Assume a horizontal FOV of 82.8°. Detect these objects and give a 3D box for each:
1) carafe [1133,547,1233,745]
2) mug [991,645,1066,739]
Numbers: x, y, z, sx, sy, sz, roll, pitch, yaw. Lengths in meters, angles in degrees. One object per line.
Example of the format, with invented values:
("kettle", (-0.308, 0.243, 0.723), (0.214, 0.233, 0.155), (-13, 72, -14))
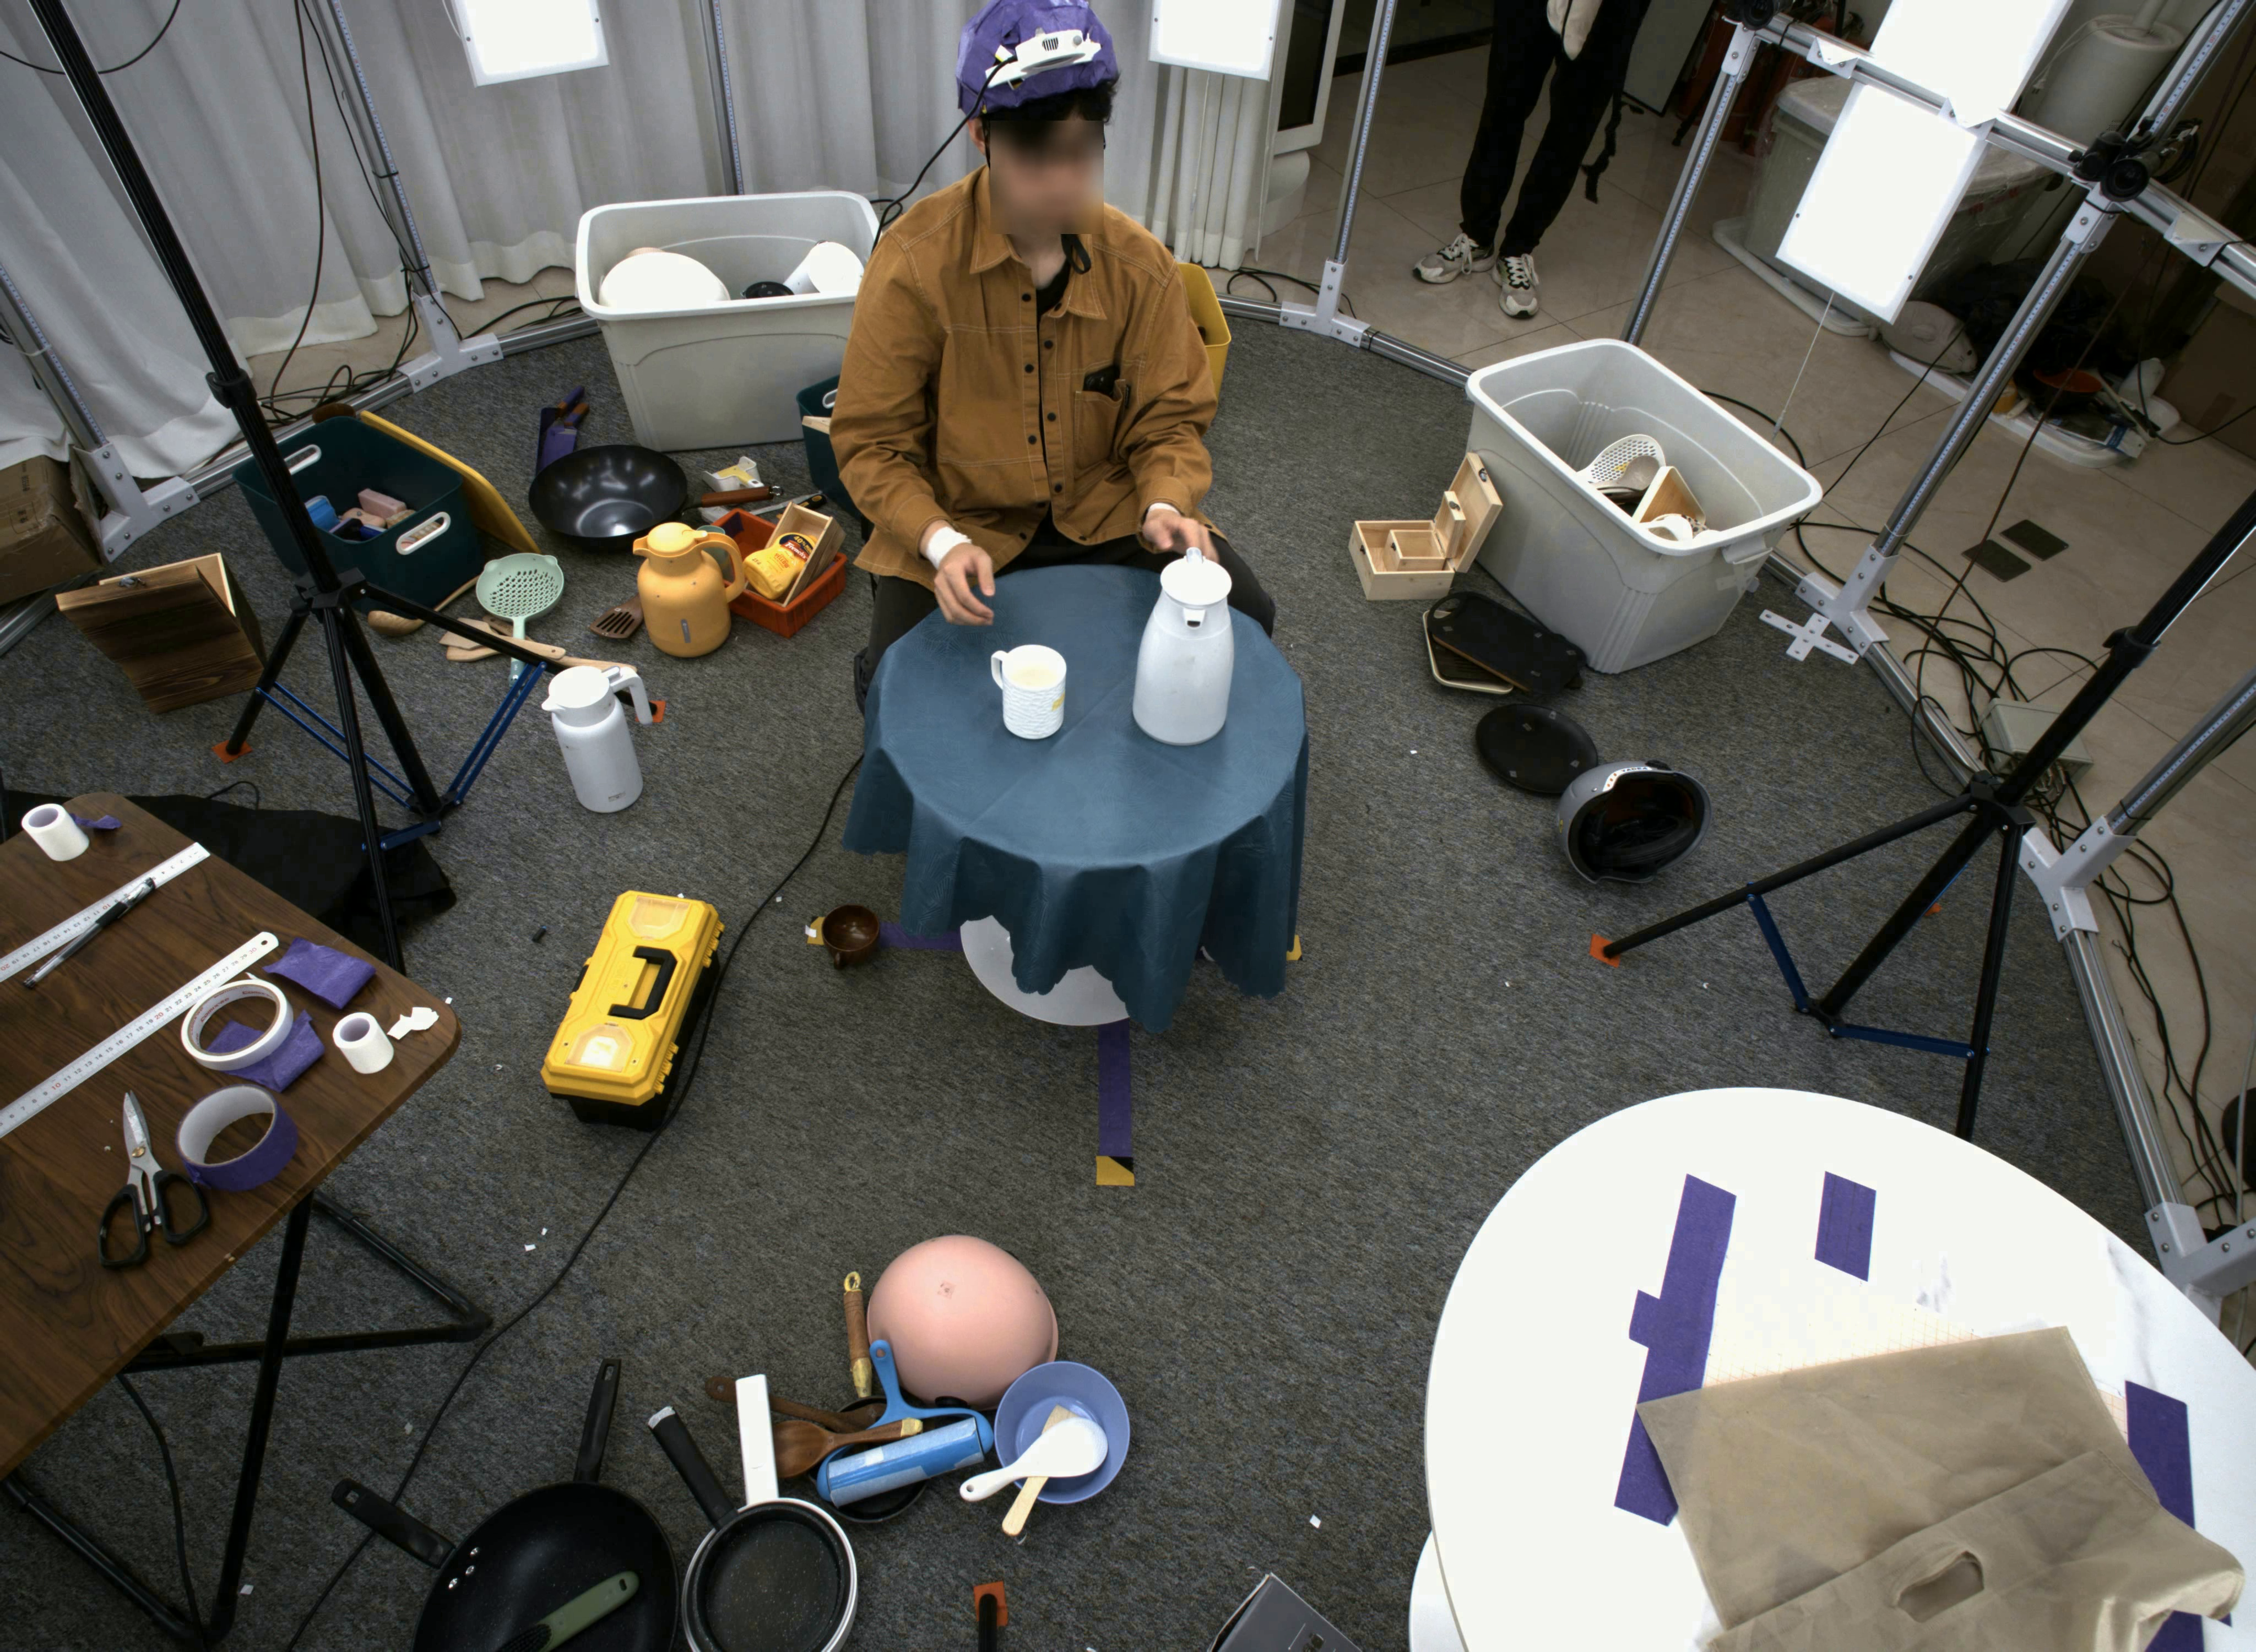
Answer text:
("carafe", (0.078, -0.254, 1.735), (0.132, 0.242, 0.172), (3, 49, -1))
("mug", (-0.141, -0.189, 1.759), (0.120, 0.099, 0.086), (33, 54, 23))
